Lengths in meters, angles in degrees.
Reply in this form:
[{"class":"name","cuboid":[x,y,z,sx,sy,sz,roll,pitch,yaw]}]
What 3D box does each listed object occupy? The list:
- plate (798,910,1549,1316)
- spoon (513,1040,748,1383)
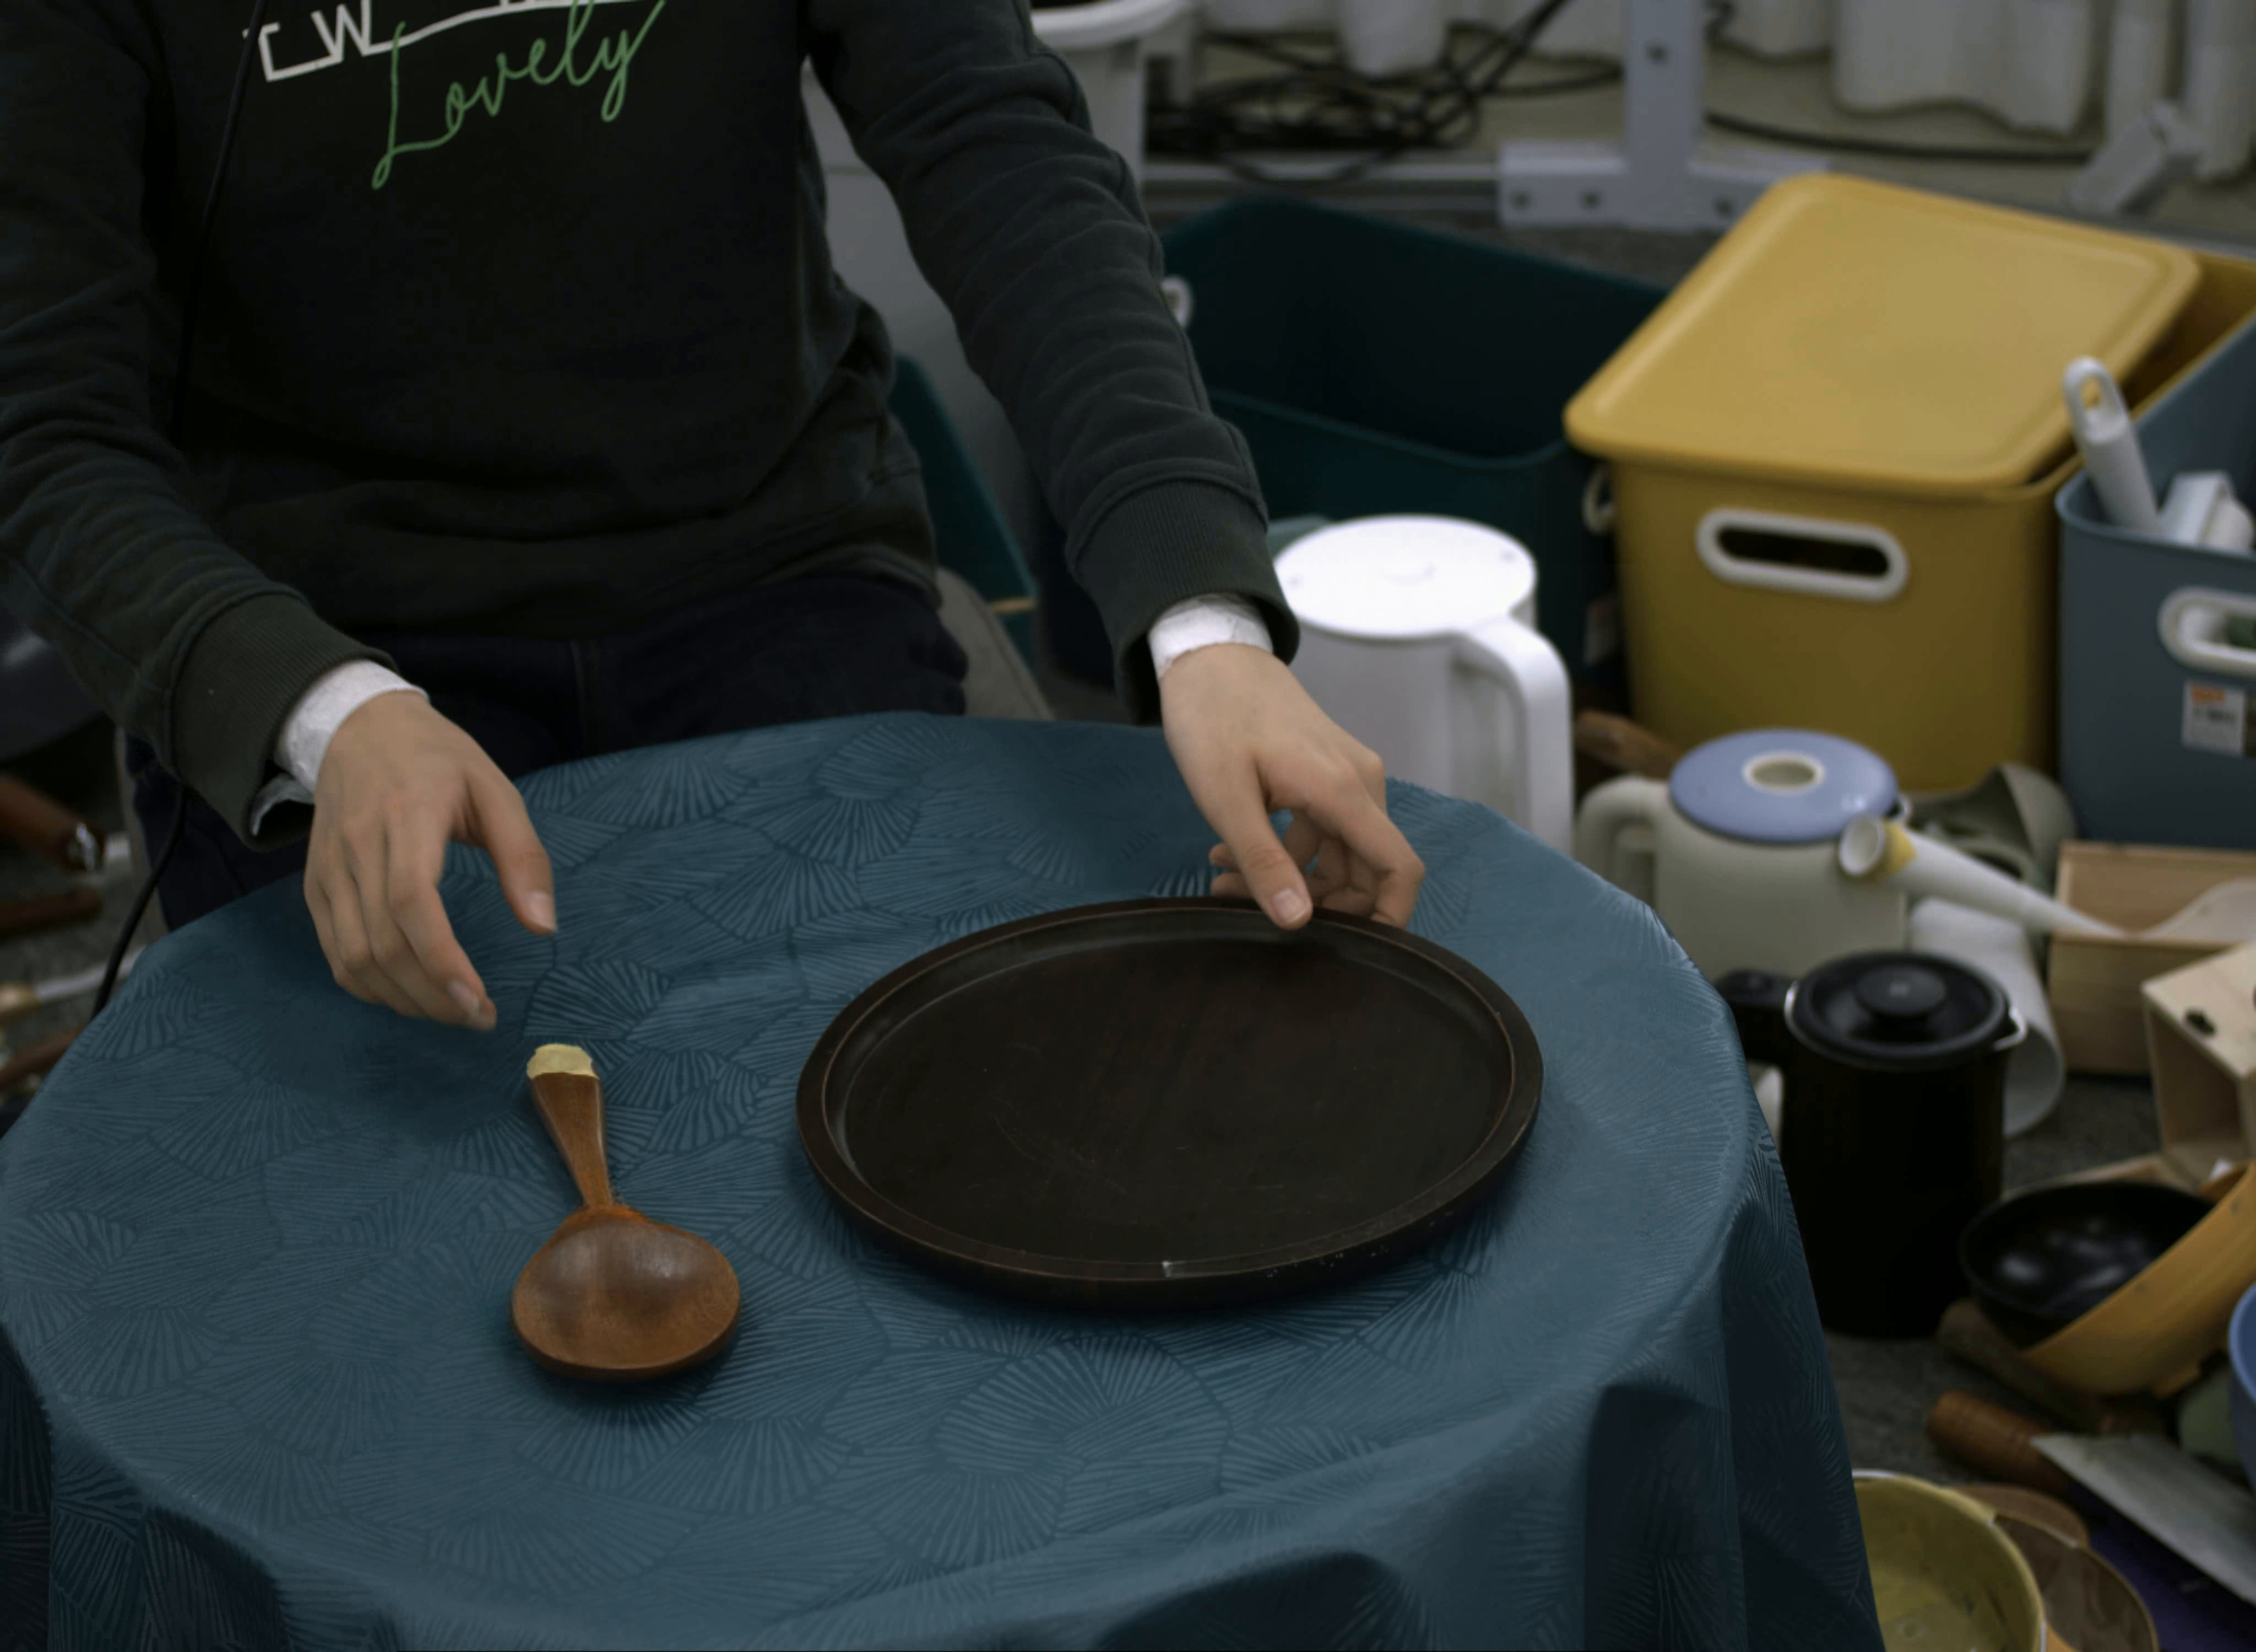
[{"class":"plate","cuboid":[0.015,0.094,1.890,0.253,0.029,0.259,-1,28,1]},{"class":"spoon","cuboid":[-0.173,0.128,1.848,0.075,0.017,0.218,-8,28,-10]}]
